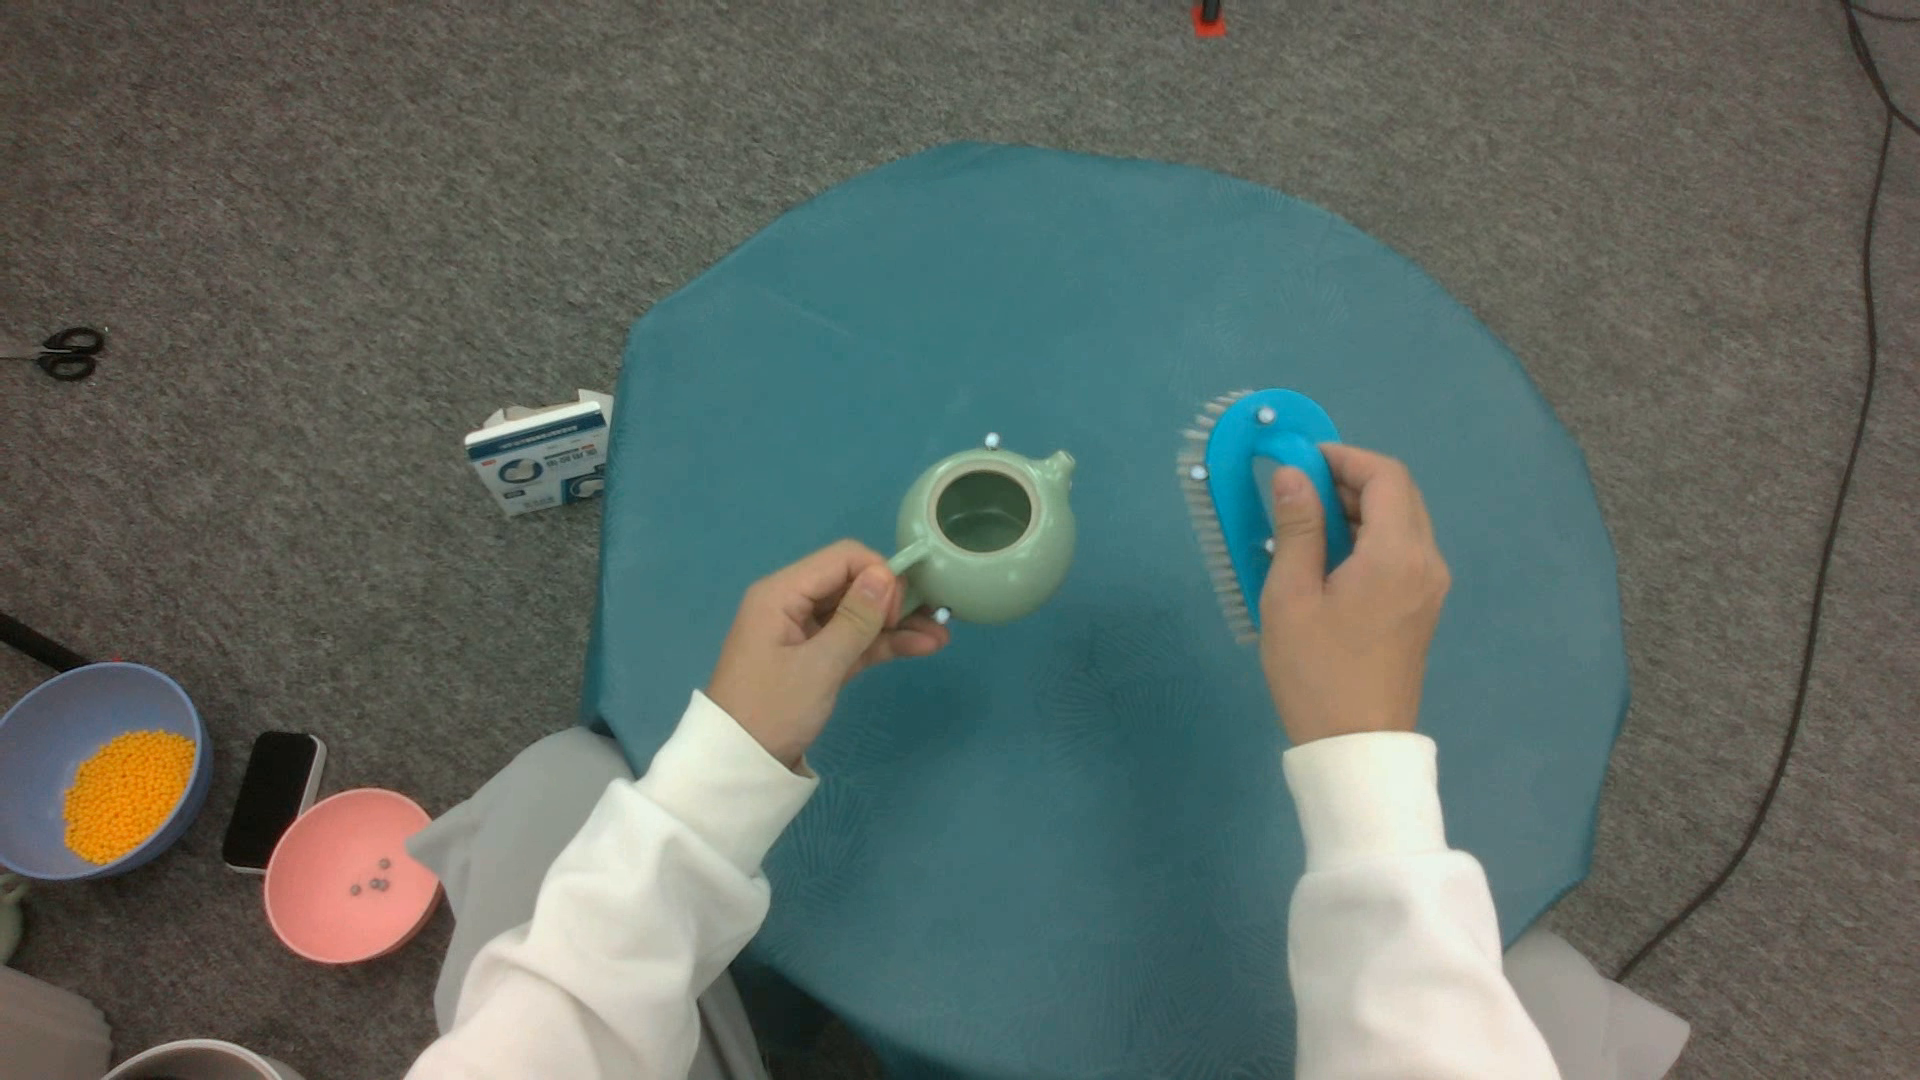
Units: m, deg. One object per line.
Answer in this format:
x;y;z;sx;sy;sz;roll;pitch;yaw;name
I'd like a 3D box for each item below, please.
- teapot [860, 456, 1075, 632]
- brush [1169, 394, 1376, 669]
0.005;0.007;0.702;0.129;0.060;0.091;-30;65;-14;teapot
0.162;-0.006;0.672;0.084;0.063;0.141;-22;98;-20;brush
